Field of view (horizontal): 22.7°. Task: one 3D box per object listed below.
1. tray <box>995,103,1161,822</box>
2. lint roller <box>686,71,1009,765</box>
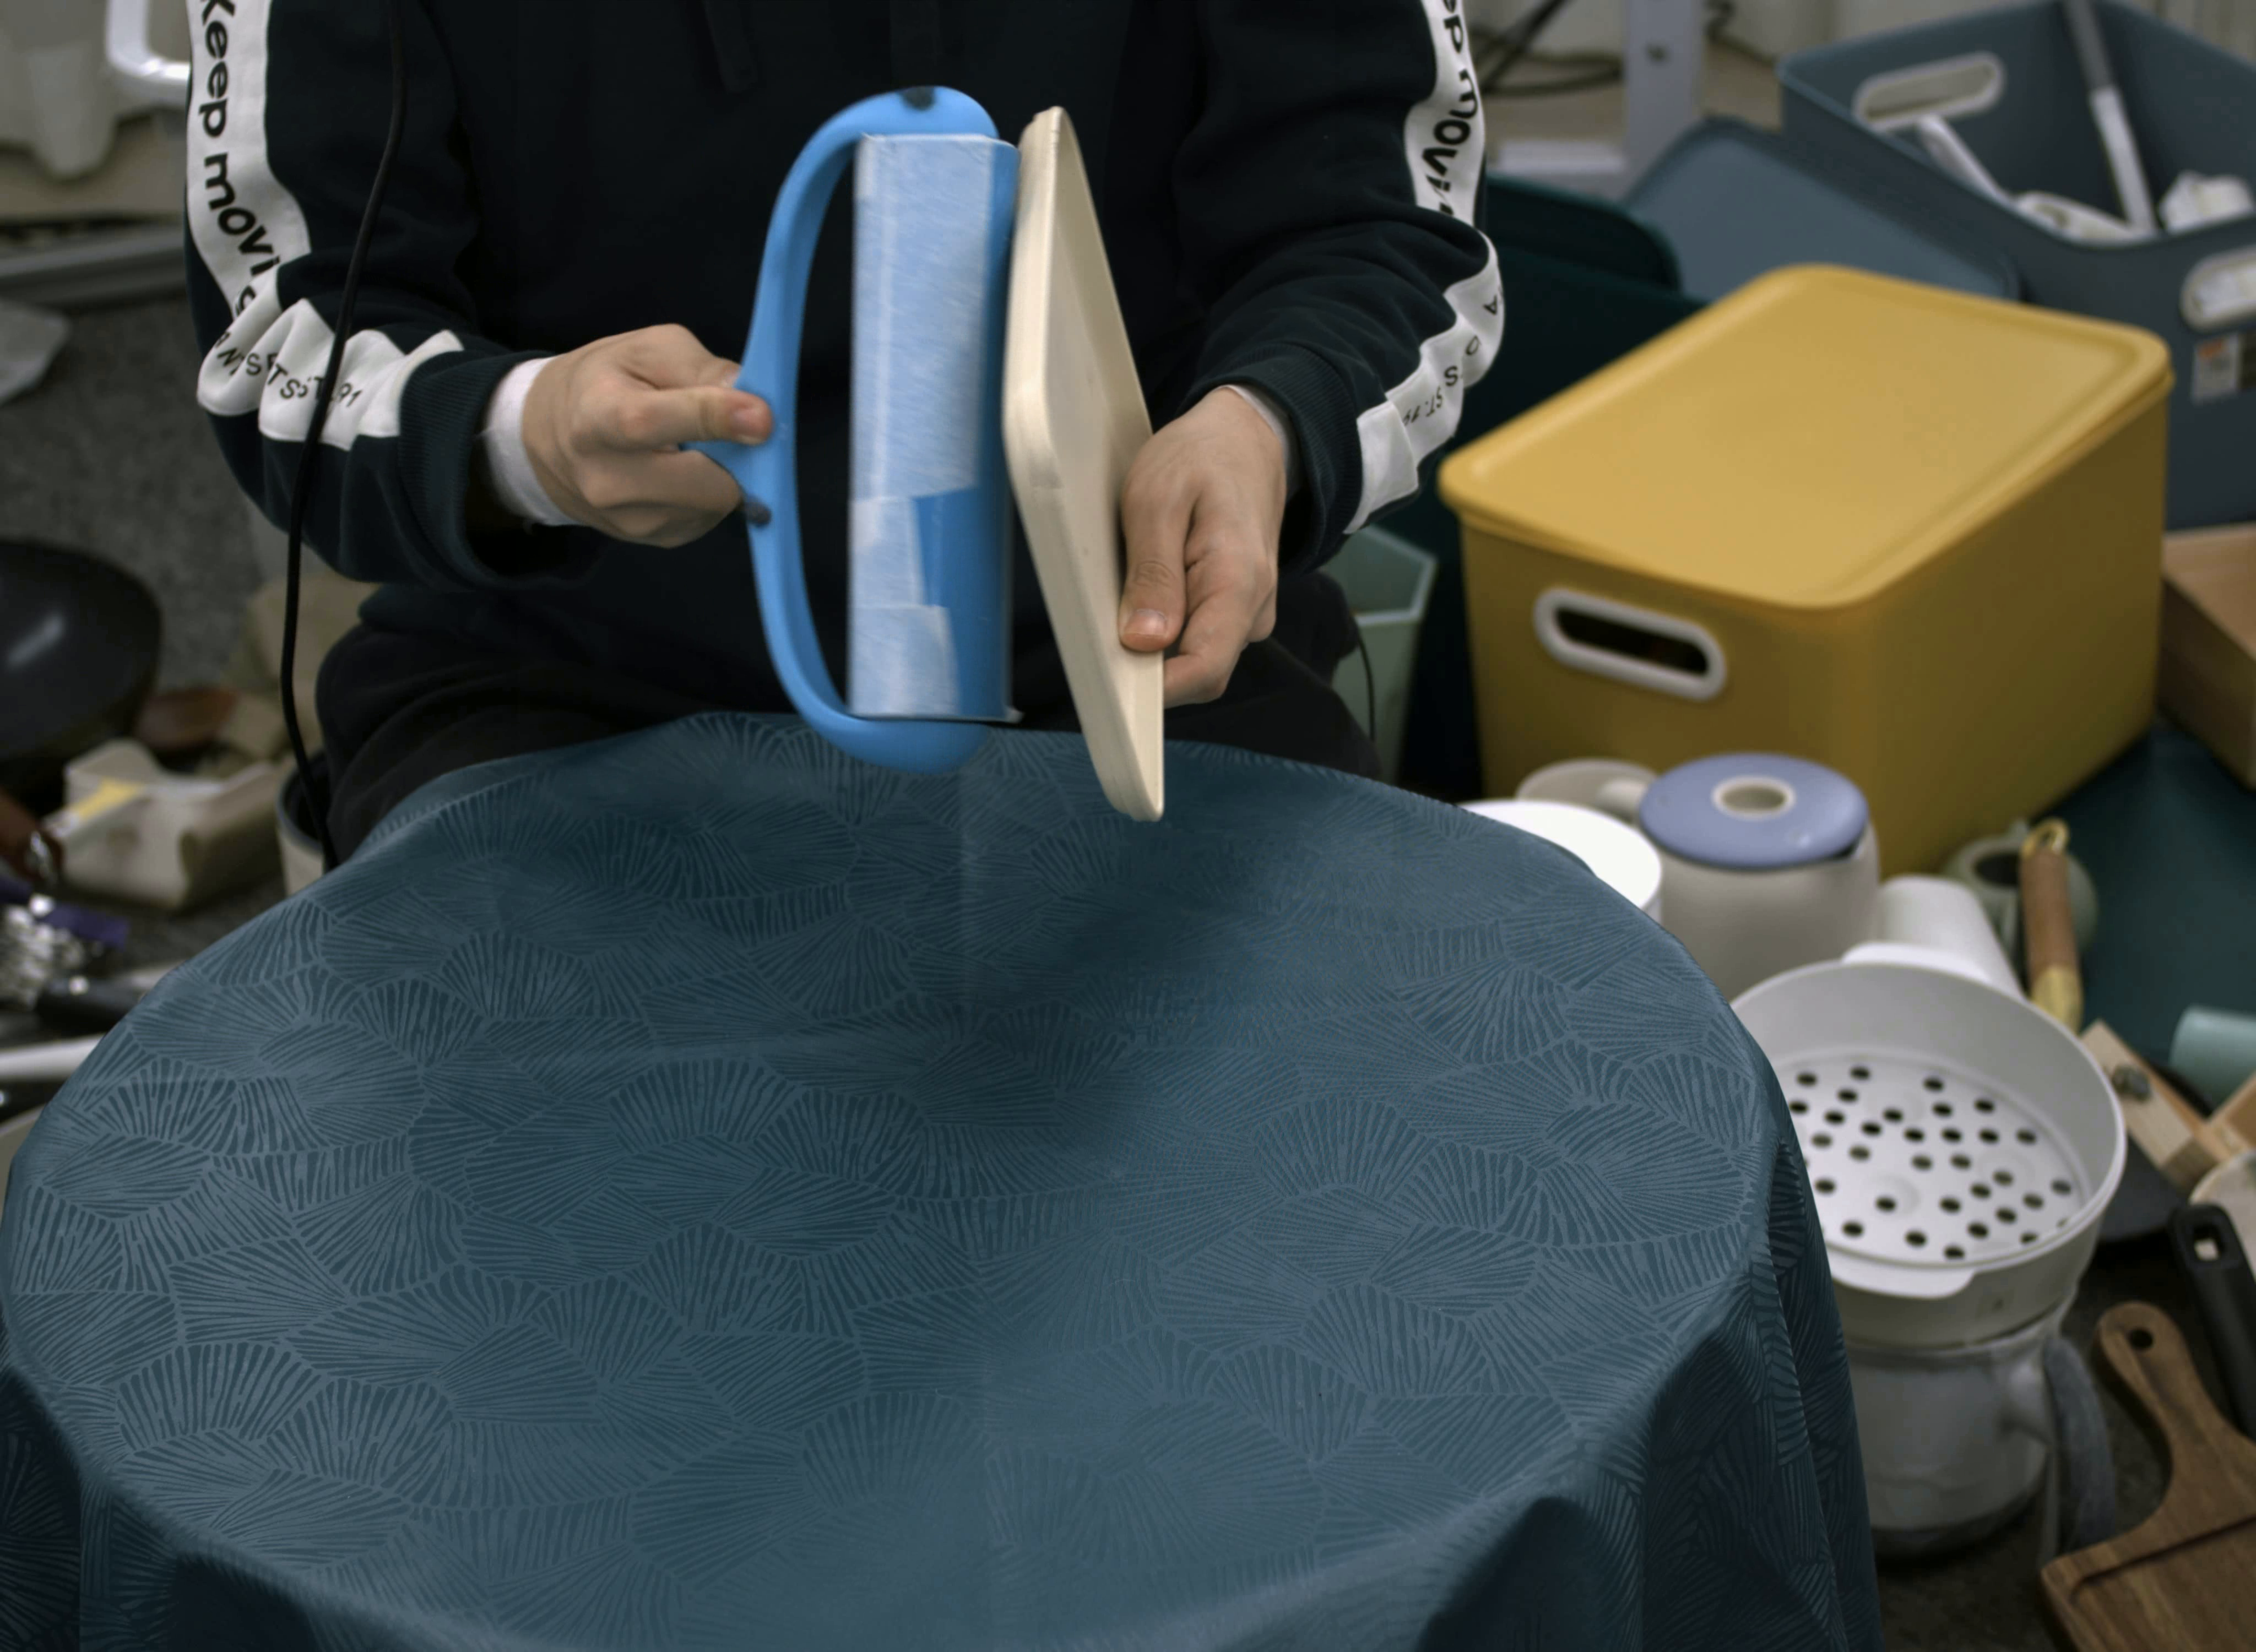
[{"bbox_3d":[-0.017,-0.123,1.884,0.017,0.169,0.244,-11,32,8],"label":"tray"},{"bbox_3d":[-0.109,-0.133,1.907,0.068,0.230,0.178,2,-5,-43],"label":"lint roller"}]
